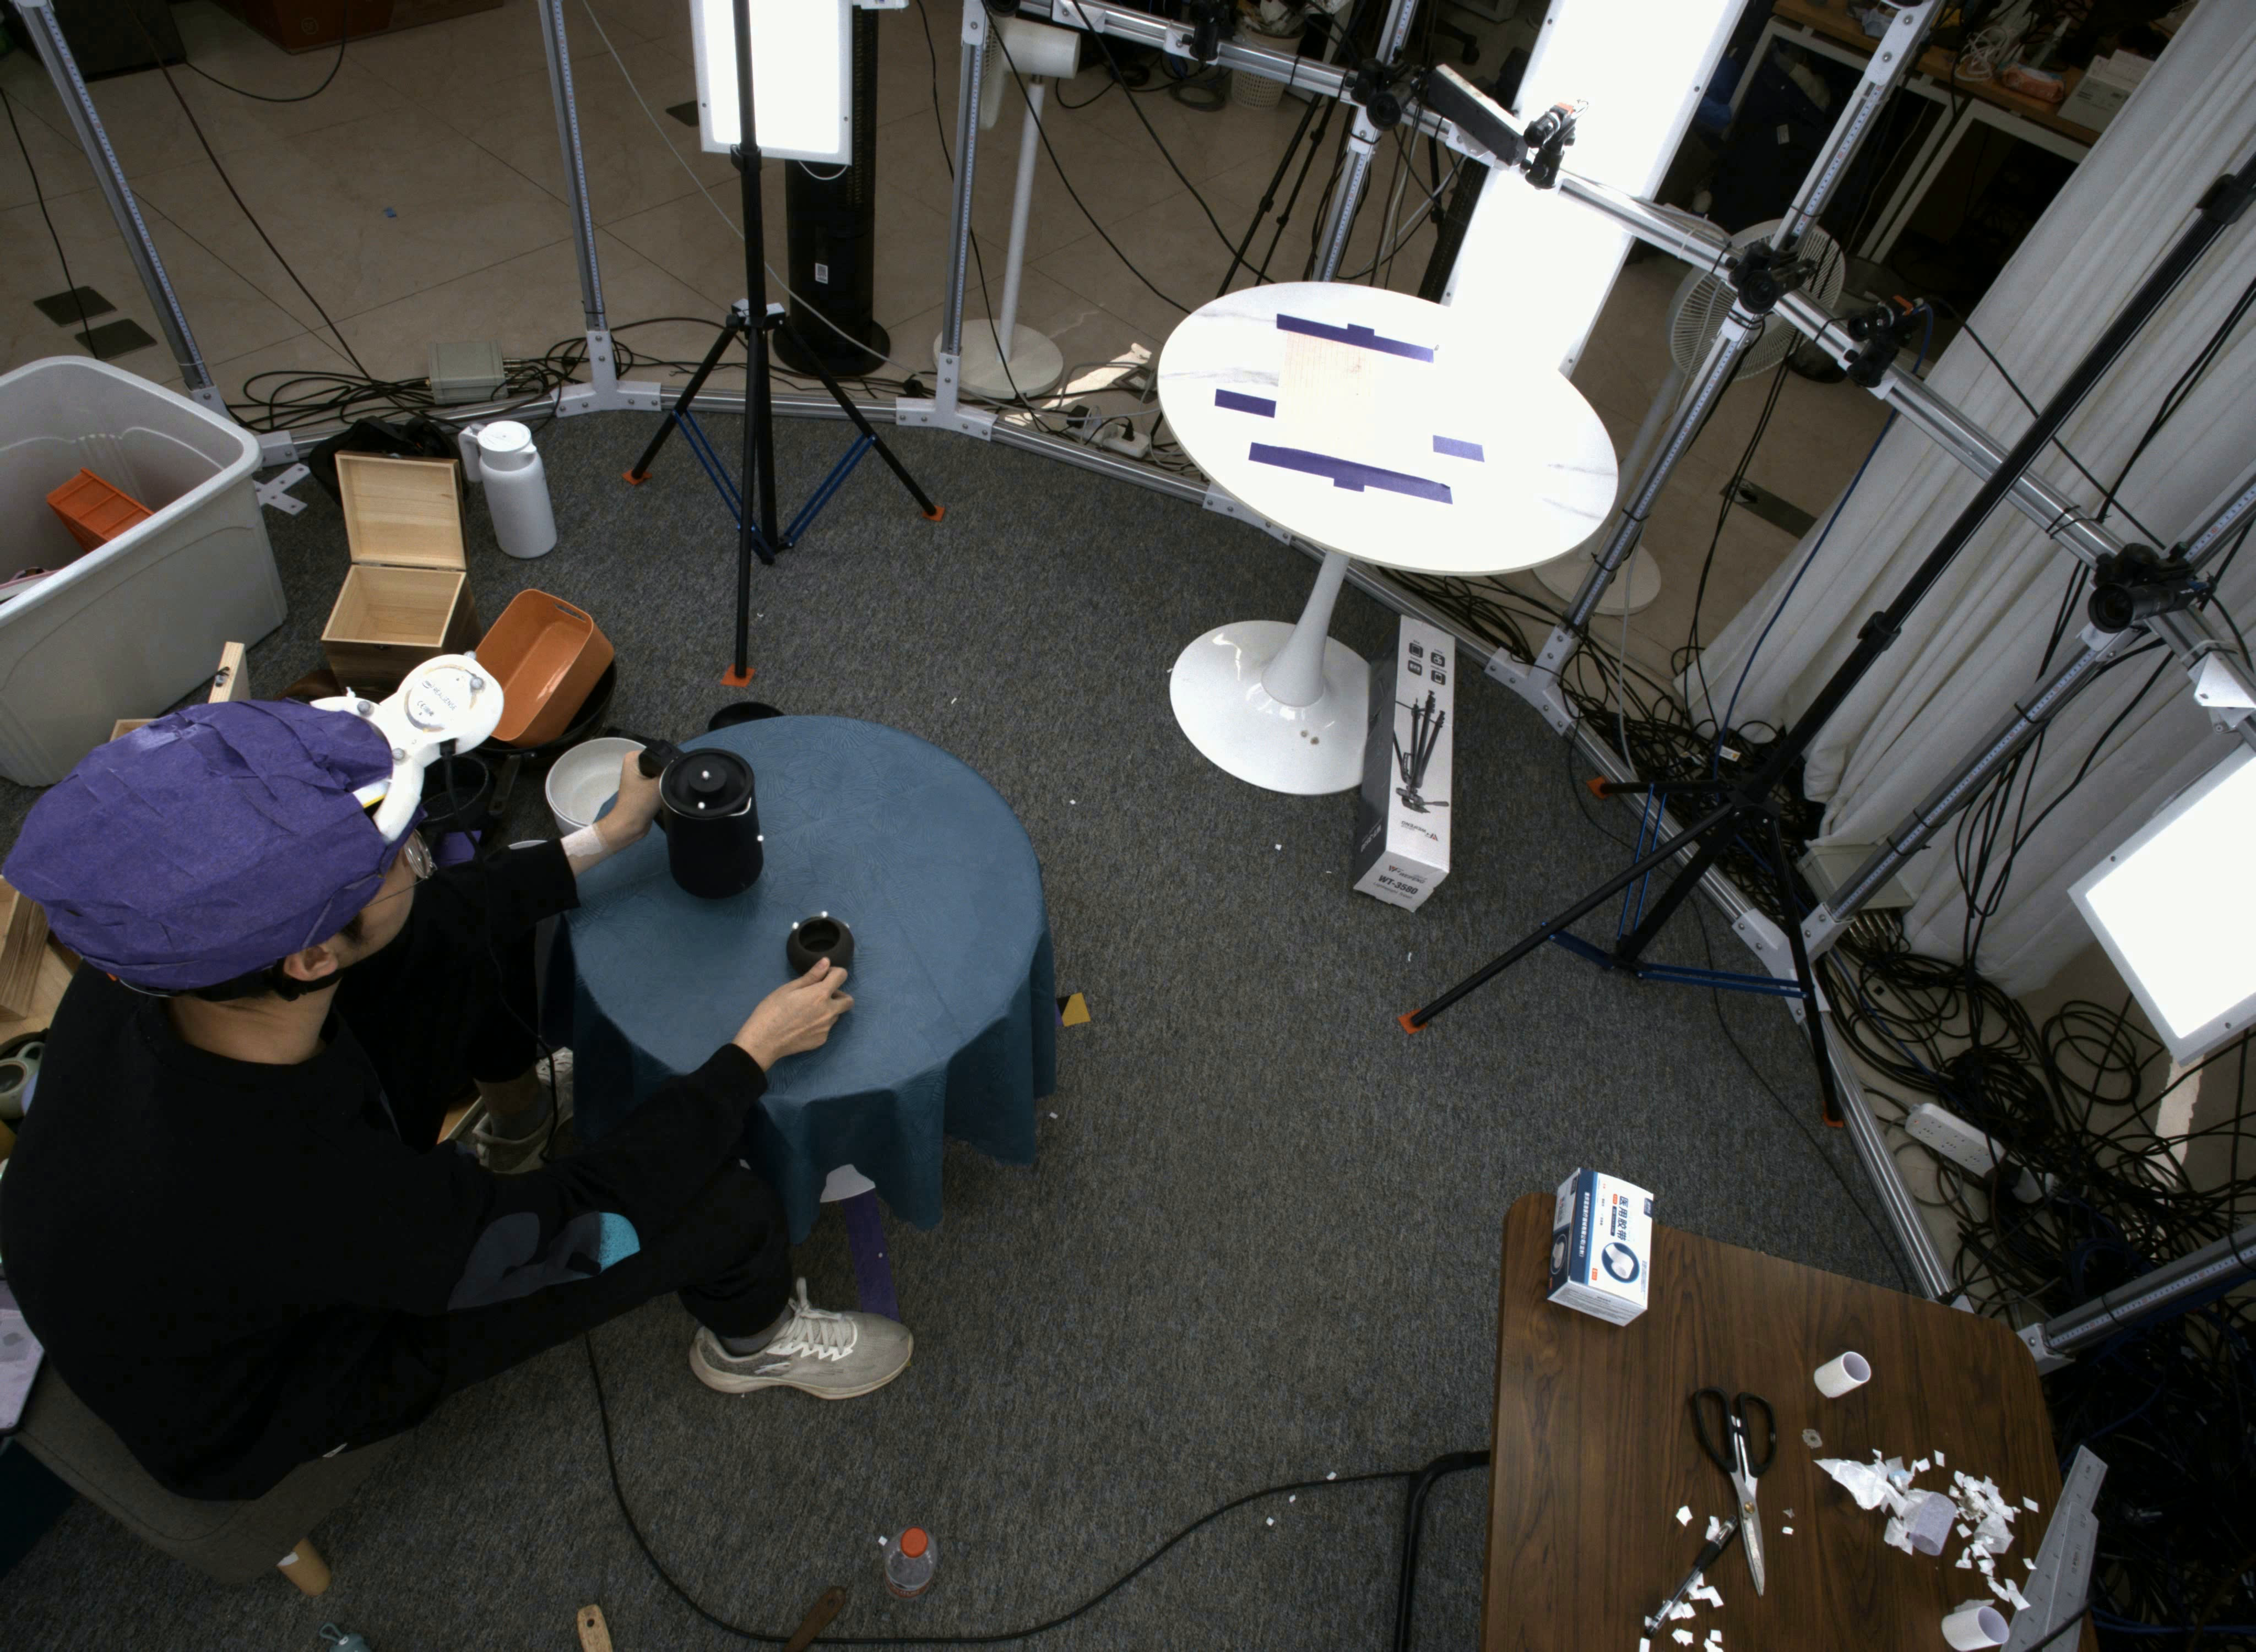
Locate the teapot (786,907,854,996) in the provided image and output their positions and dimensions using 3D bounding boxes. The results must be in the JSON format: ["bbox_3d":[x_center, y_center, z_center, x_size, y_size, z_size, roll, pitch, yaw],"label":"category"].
[{"bbox_3d":[-0.378,0.154,1.592,0.083,0.054,0.111,-8,51,-11],"label":"teapot"}]

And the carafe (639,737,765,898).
[{"bbox_3d":[-0.522,-0.021,1.561,0.168,0.177,0.114,33,55,12],"label":"carafe"}]
